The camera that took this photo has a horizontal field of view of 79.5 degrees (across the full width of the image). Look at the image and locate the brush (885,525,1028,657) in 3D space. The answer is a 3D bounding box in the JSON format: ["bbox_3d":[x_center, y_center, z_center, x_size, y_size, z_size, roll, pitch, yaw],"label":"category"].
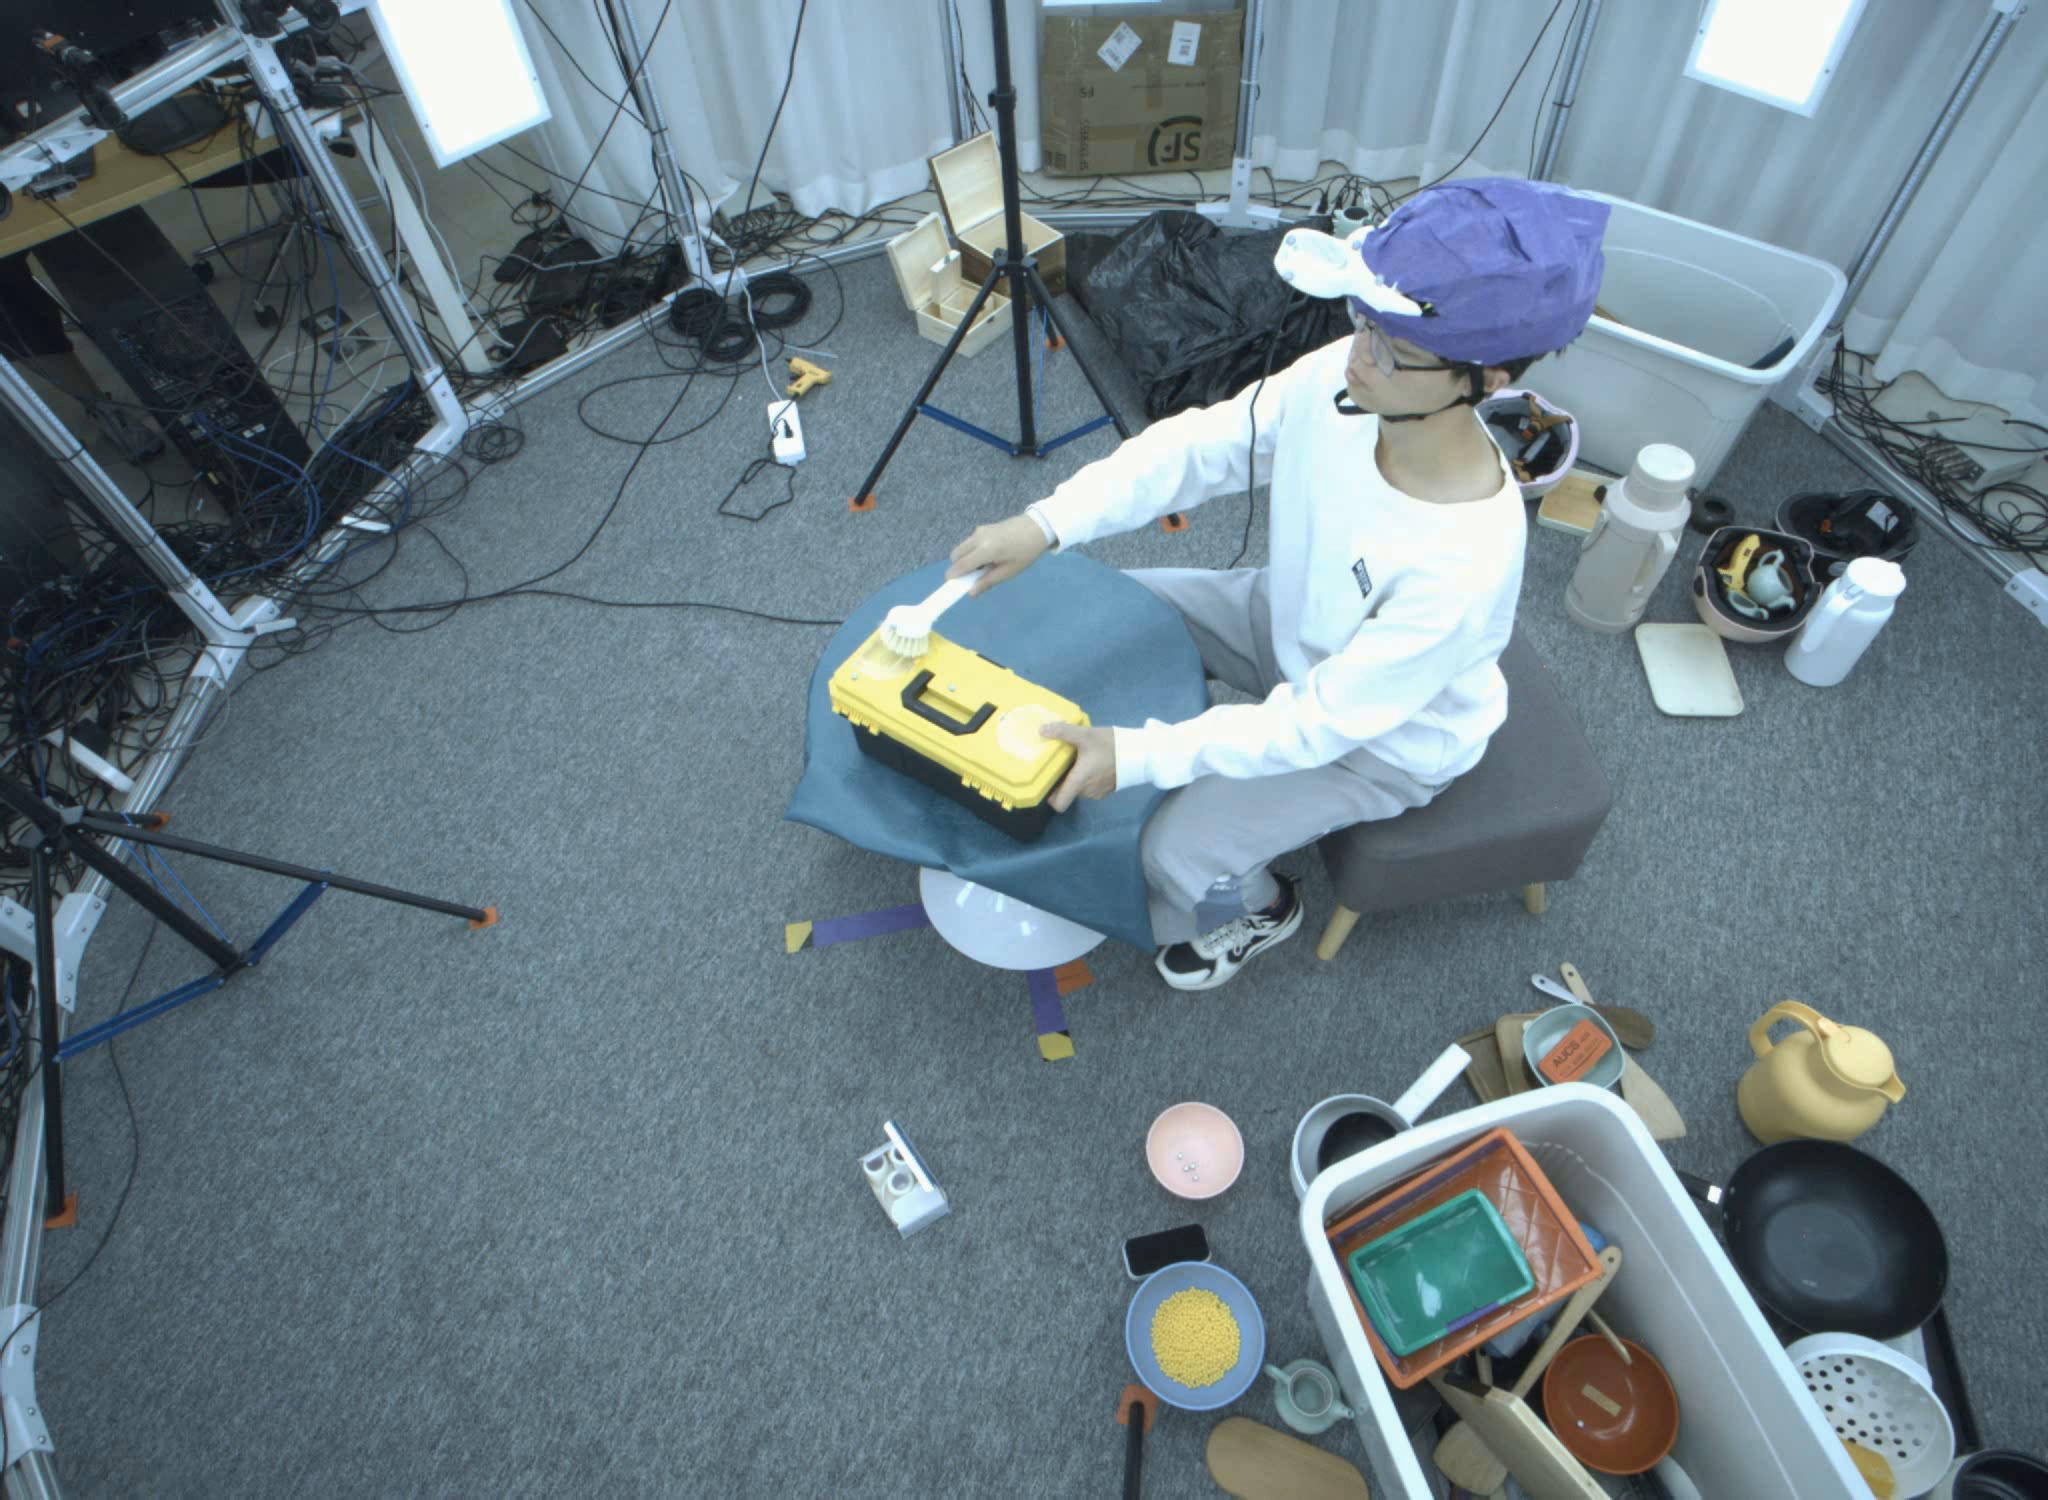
[{"bbox_3d":[-0.089,-0.221,1.697,0.068,0.056,0.268,41,61,9],"label":"brush"}]

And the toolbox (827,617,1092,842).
[{"bbox_3d":[-0.087,-0.029,1.701,0.346,0.174,0.182,28,61,20],"label":"toolbox"}]
